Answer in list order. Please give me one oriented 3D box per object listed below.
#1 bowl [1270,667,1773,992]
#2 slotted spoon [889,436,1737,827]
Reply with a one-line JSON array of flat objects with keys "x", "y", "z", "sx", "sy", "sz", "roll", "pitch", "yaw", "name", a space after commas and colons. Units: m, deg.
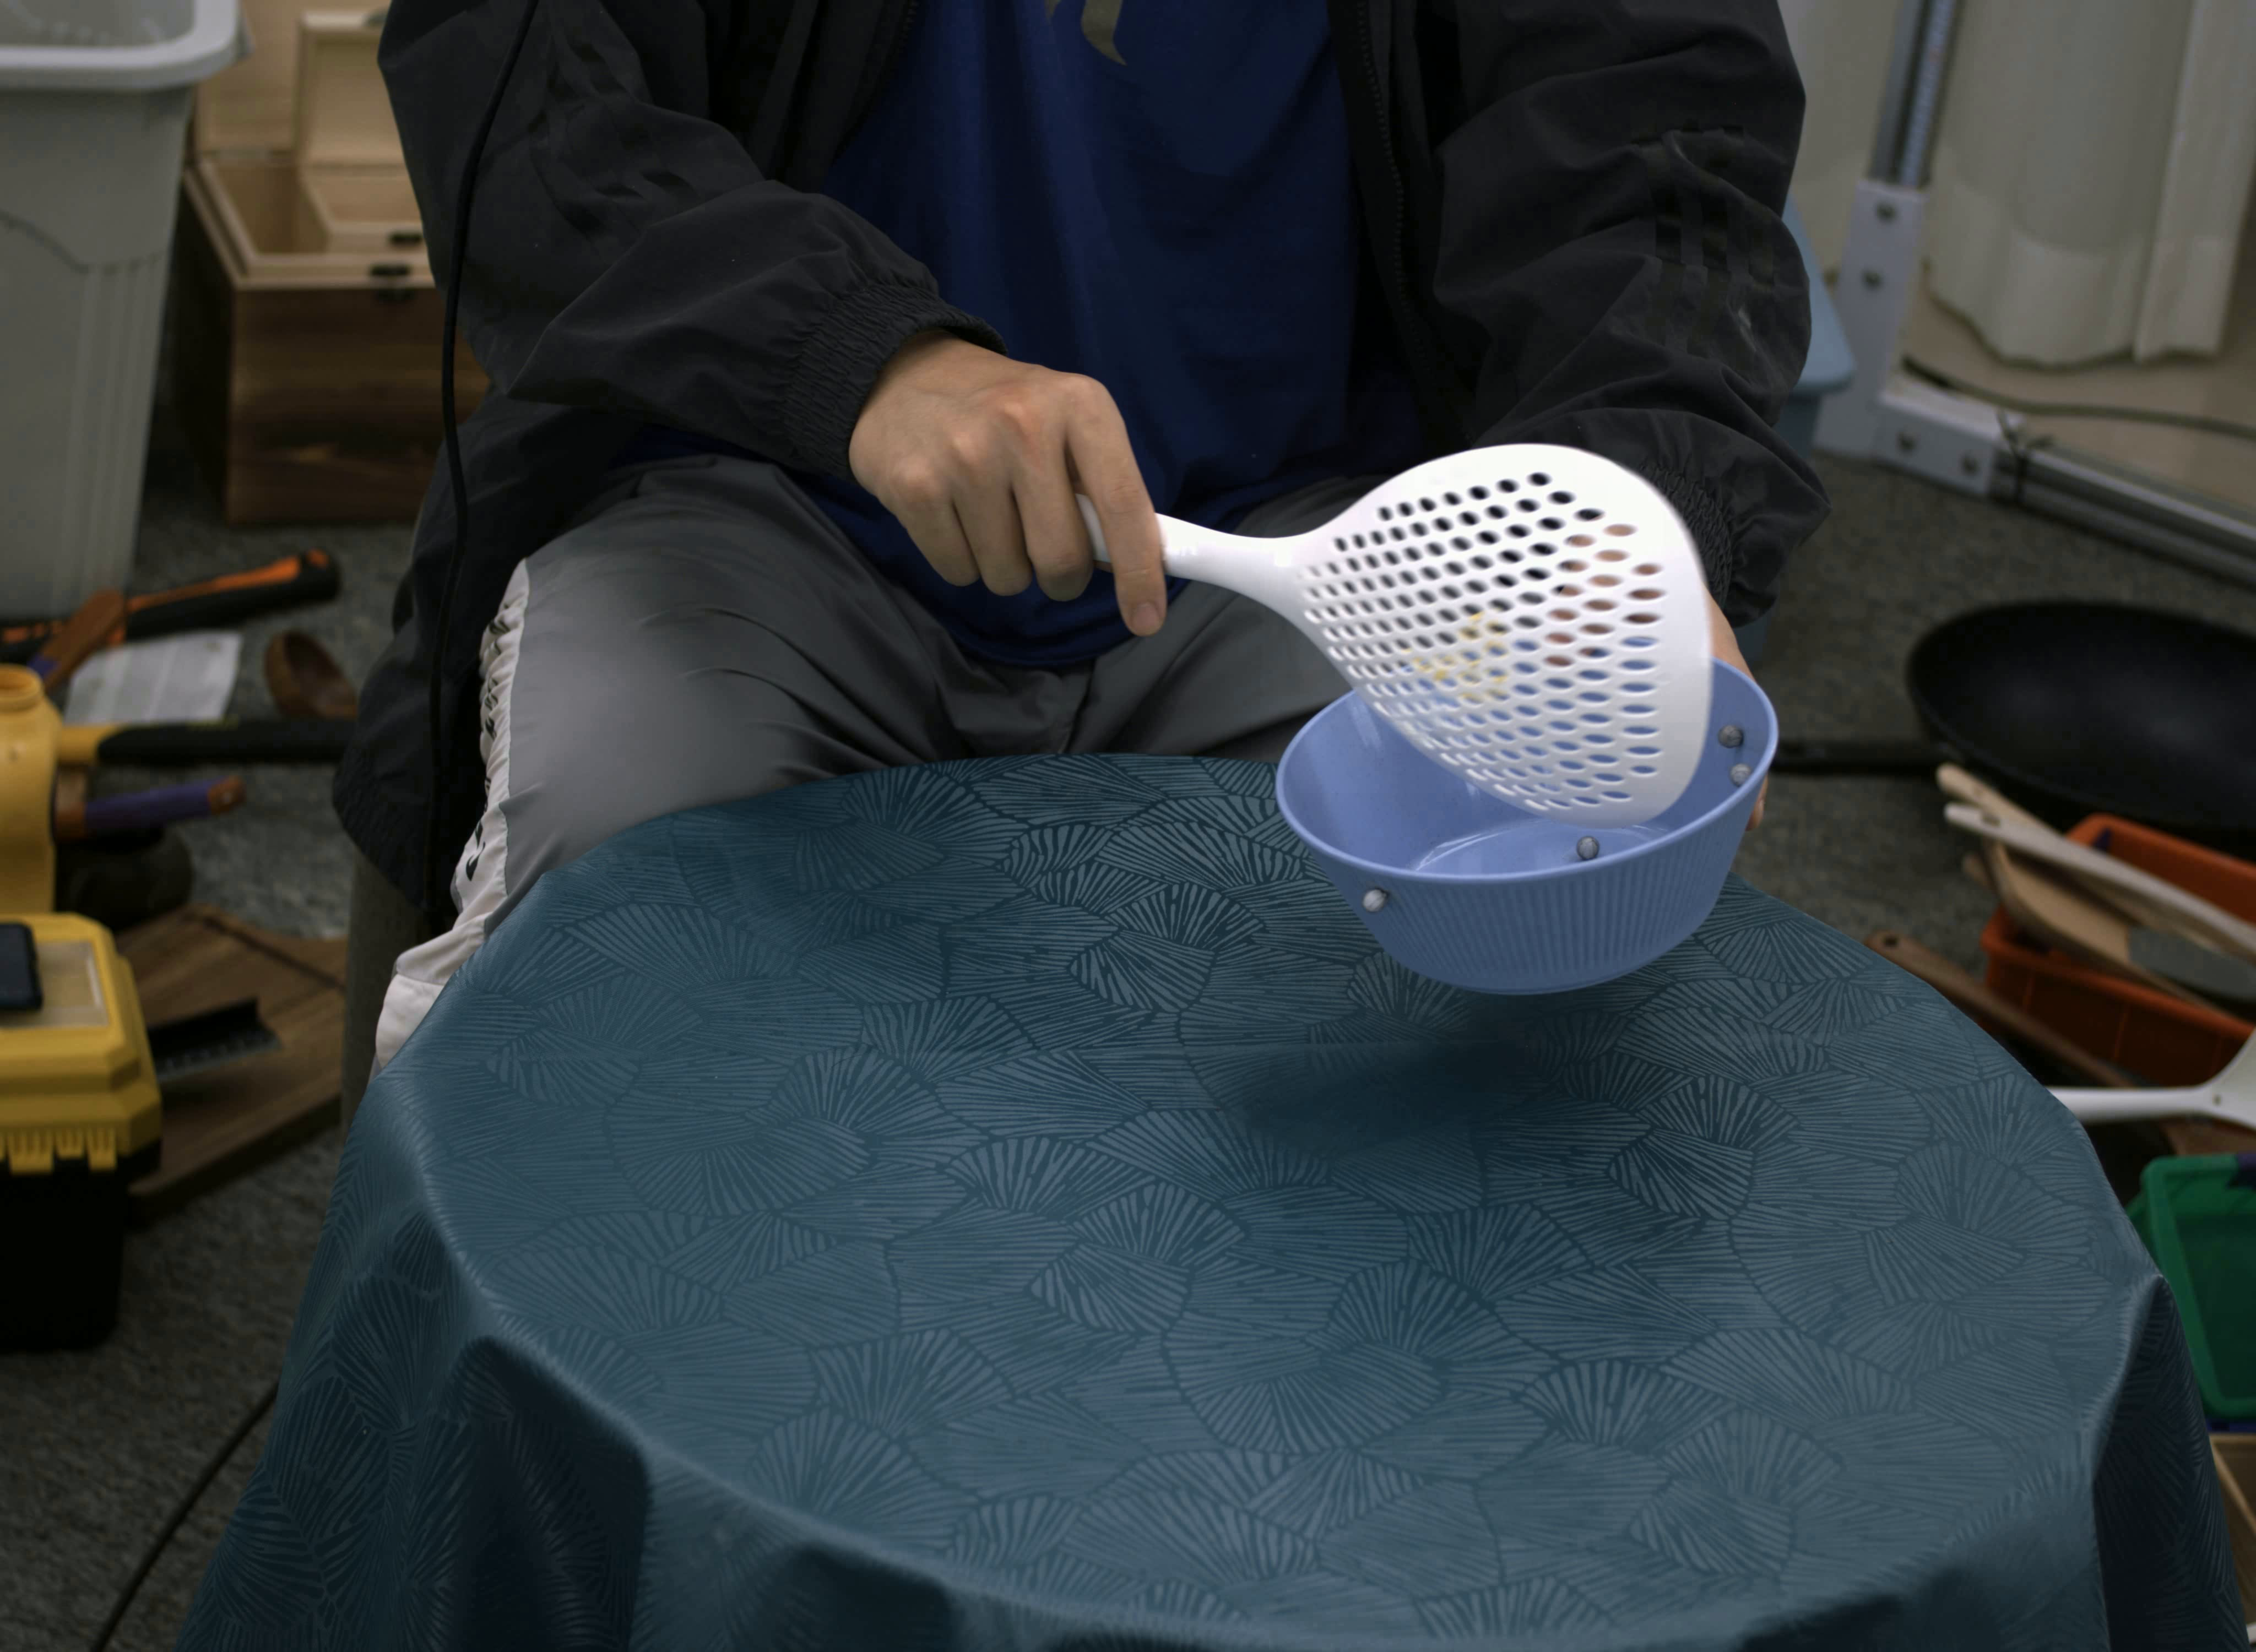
[{"x": 0.140, "y": 0.002, "z": 1.864, "sx": 0.176, "sy": 0.070, "sz": 0.177, "roll": -8, "pitch": 28, "yaw": 4, "name": "bowl"}, {"x": 0.058, "y": -0.087, "z": 1.870, "sx": 0.350, "sy": 0.136, "sz": 0.050, "roll": 18, "pitch": 27, "yaw": 38, "name": "slotted spoon"}]
